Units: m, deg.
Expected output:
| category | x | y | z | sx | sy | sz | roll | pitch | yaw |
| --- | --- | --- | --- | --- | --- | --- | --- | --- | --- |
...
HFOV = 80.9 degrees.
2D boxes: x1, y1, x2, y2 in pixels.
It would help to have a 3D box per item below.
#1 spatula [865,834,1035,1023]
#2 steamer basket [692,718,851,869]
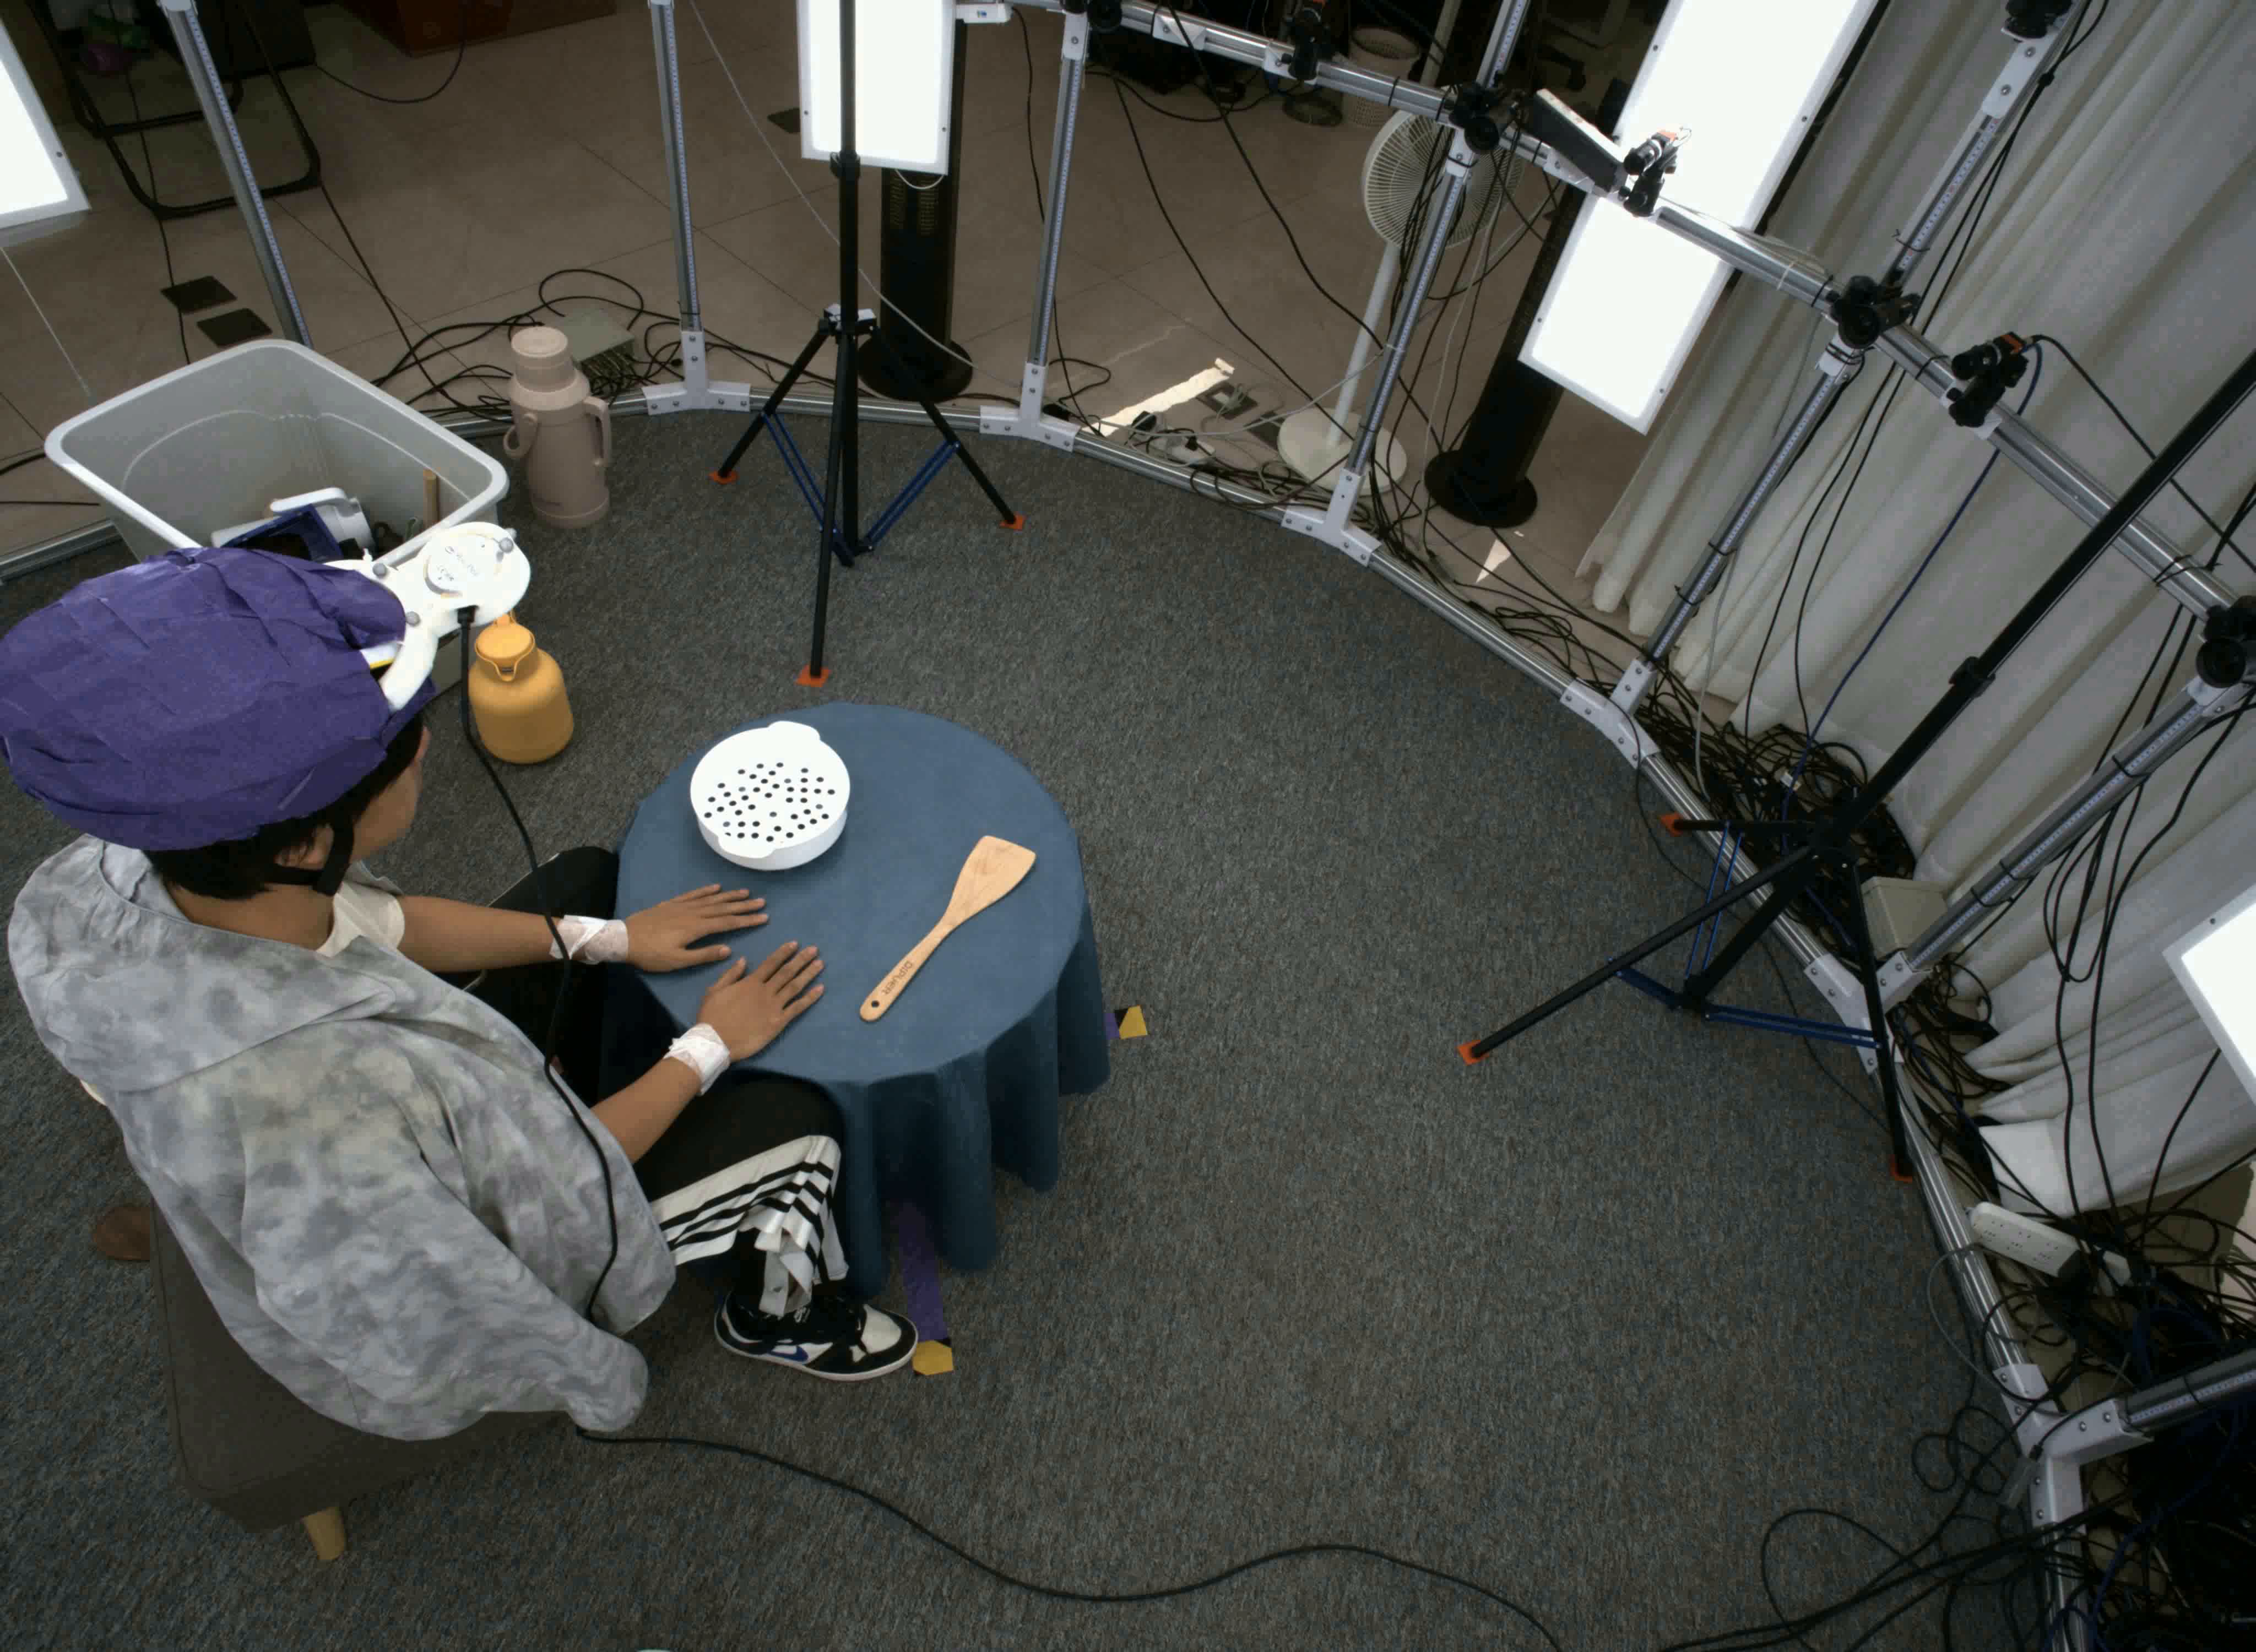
| category | x | y | z | sx | sy | sz | roll | pitch | yaw |
| --- | --- | --- | --- | --- | --- | --- | --- | --- | --- |
| spatula | -0.234 | 0.126 | 1.668 | 0.078 | 0.017 | 0.326 | 30 | 53 | 10 |
| steamer basket | -0.466 | -0.038 | 1.701 | 0.200 | 0.071 | 0.227 | 13 | 52 | -2 |
